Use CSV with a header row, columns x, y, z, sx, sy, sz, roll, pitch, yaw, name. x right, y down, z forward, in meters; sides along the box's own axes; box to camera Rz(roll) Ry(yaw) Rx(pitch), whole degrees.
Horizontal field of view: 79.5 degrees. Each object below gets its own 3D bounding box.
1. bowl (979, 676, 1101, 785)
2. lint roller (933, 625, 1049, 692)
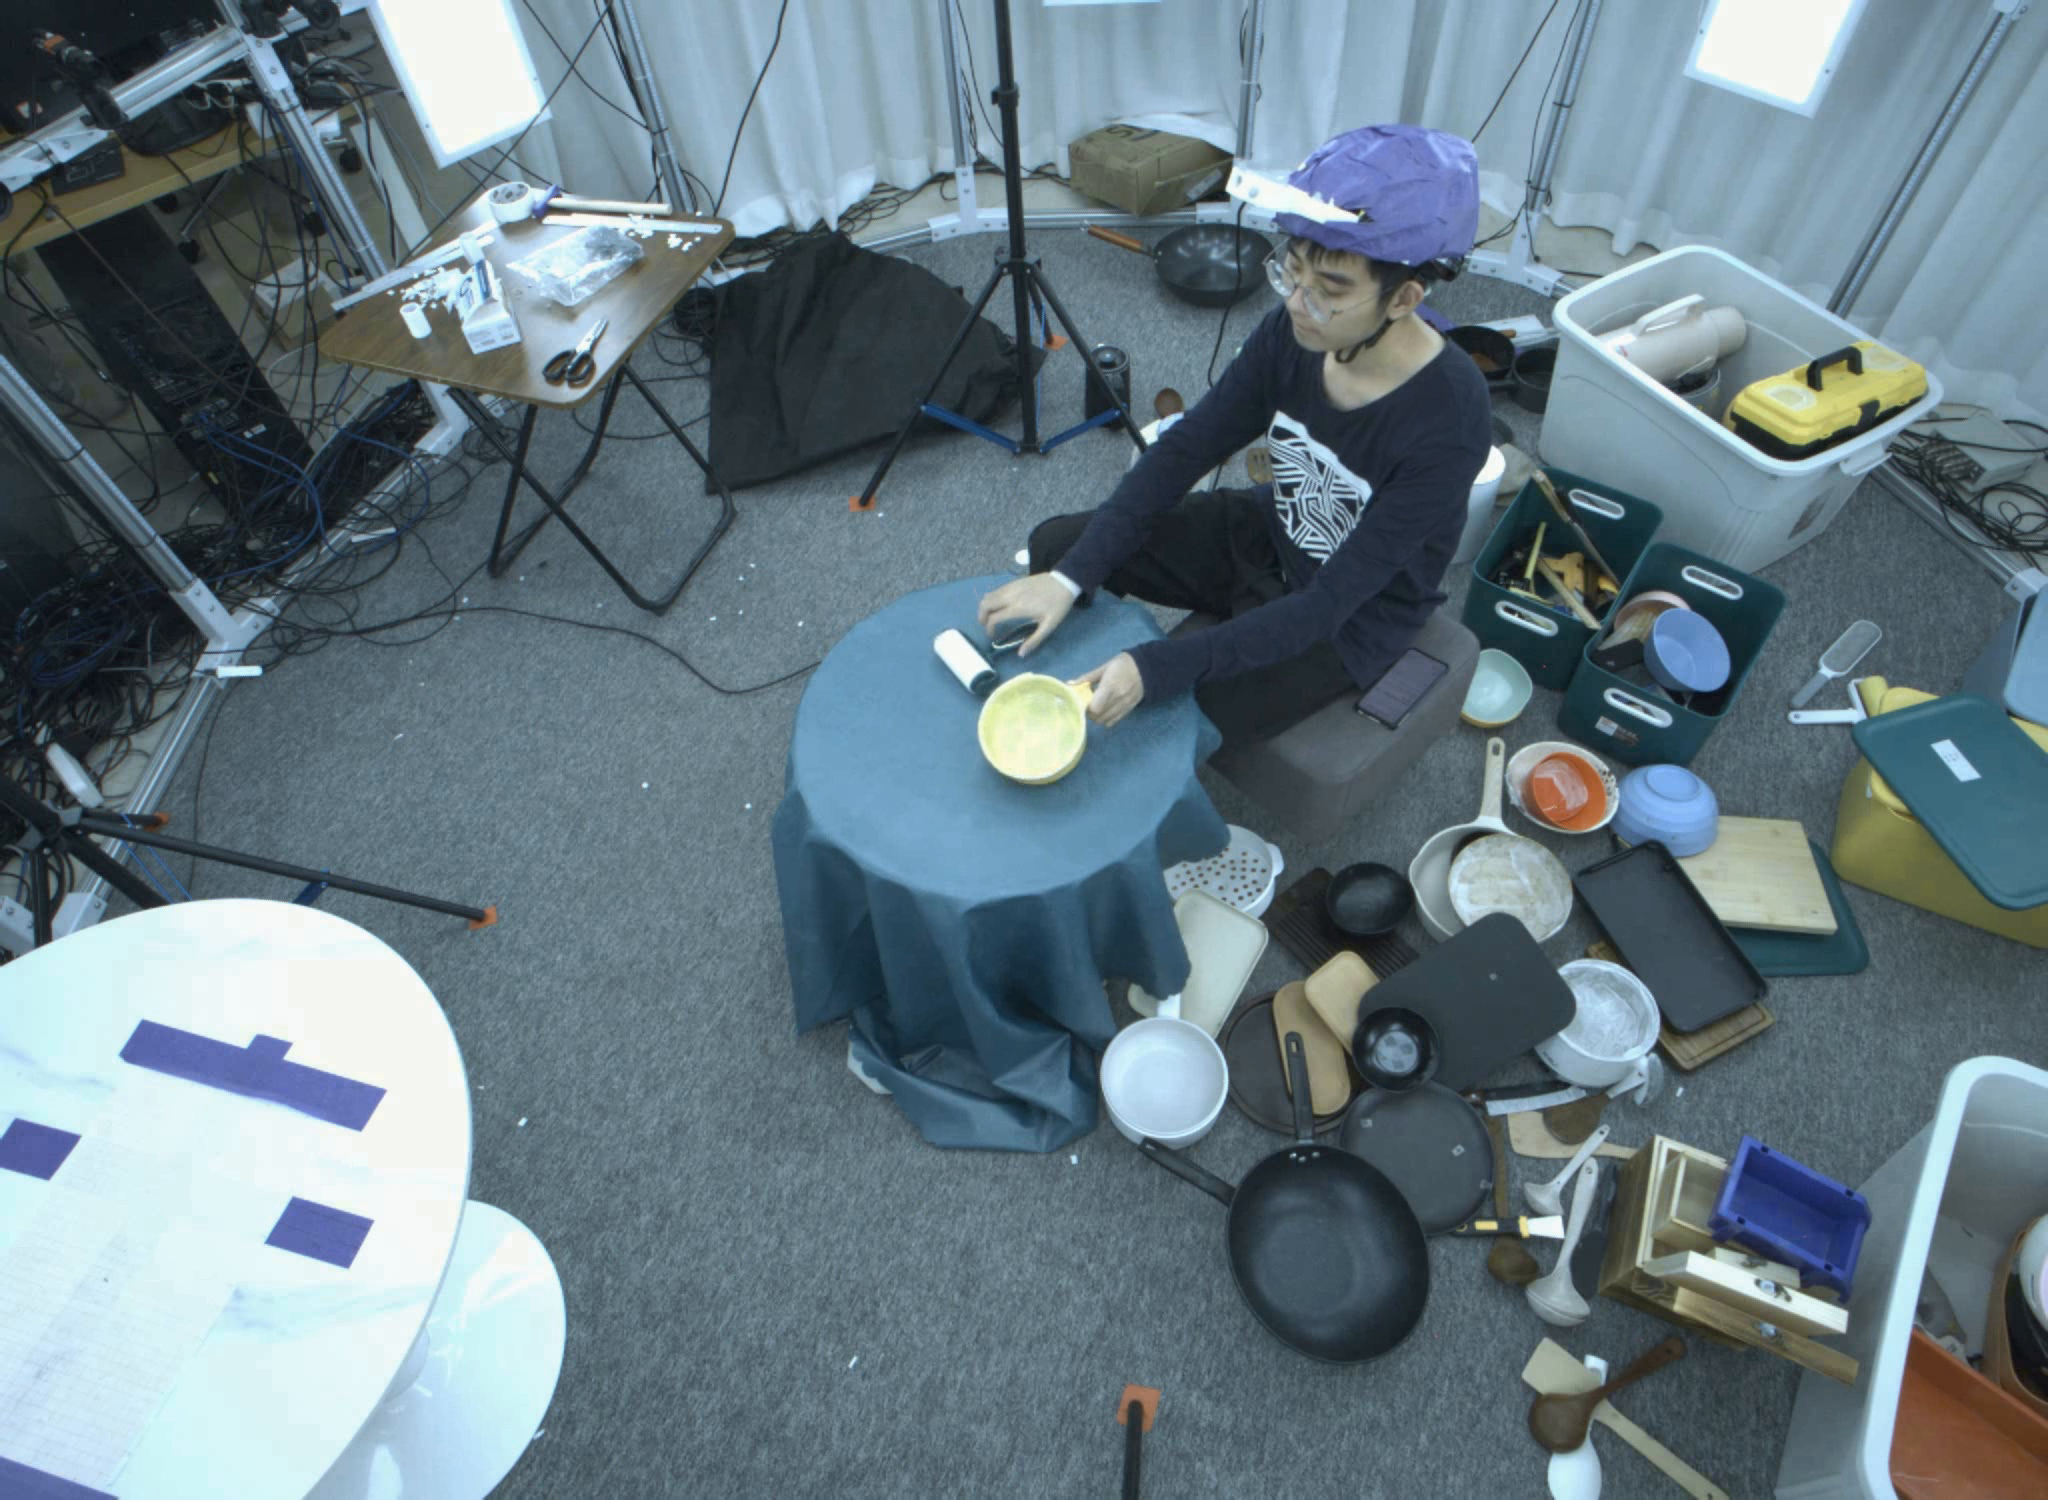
x,y,z,sx,sy,sz,roll,pitch,yaw,name
0.029,-0.031,1.753,0.179,0.075,0.151,-39,72,-3,bowl
-0.037,-0.166,1.891,0.182,0.049,0.132,-28,58,-23,lint roller
